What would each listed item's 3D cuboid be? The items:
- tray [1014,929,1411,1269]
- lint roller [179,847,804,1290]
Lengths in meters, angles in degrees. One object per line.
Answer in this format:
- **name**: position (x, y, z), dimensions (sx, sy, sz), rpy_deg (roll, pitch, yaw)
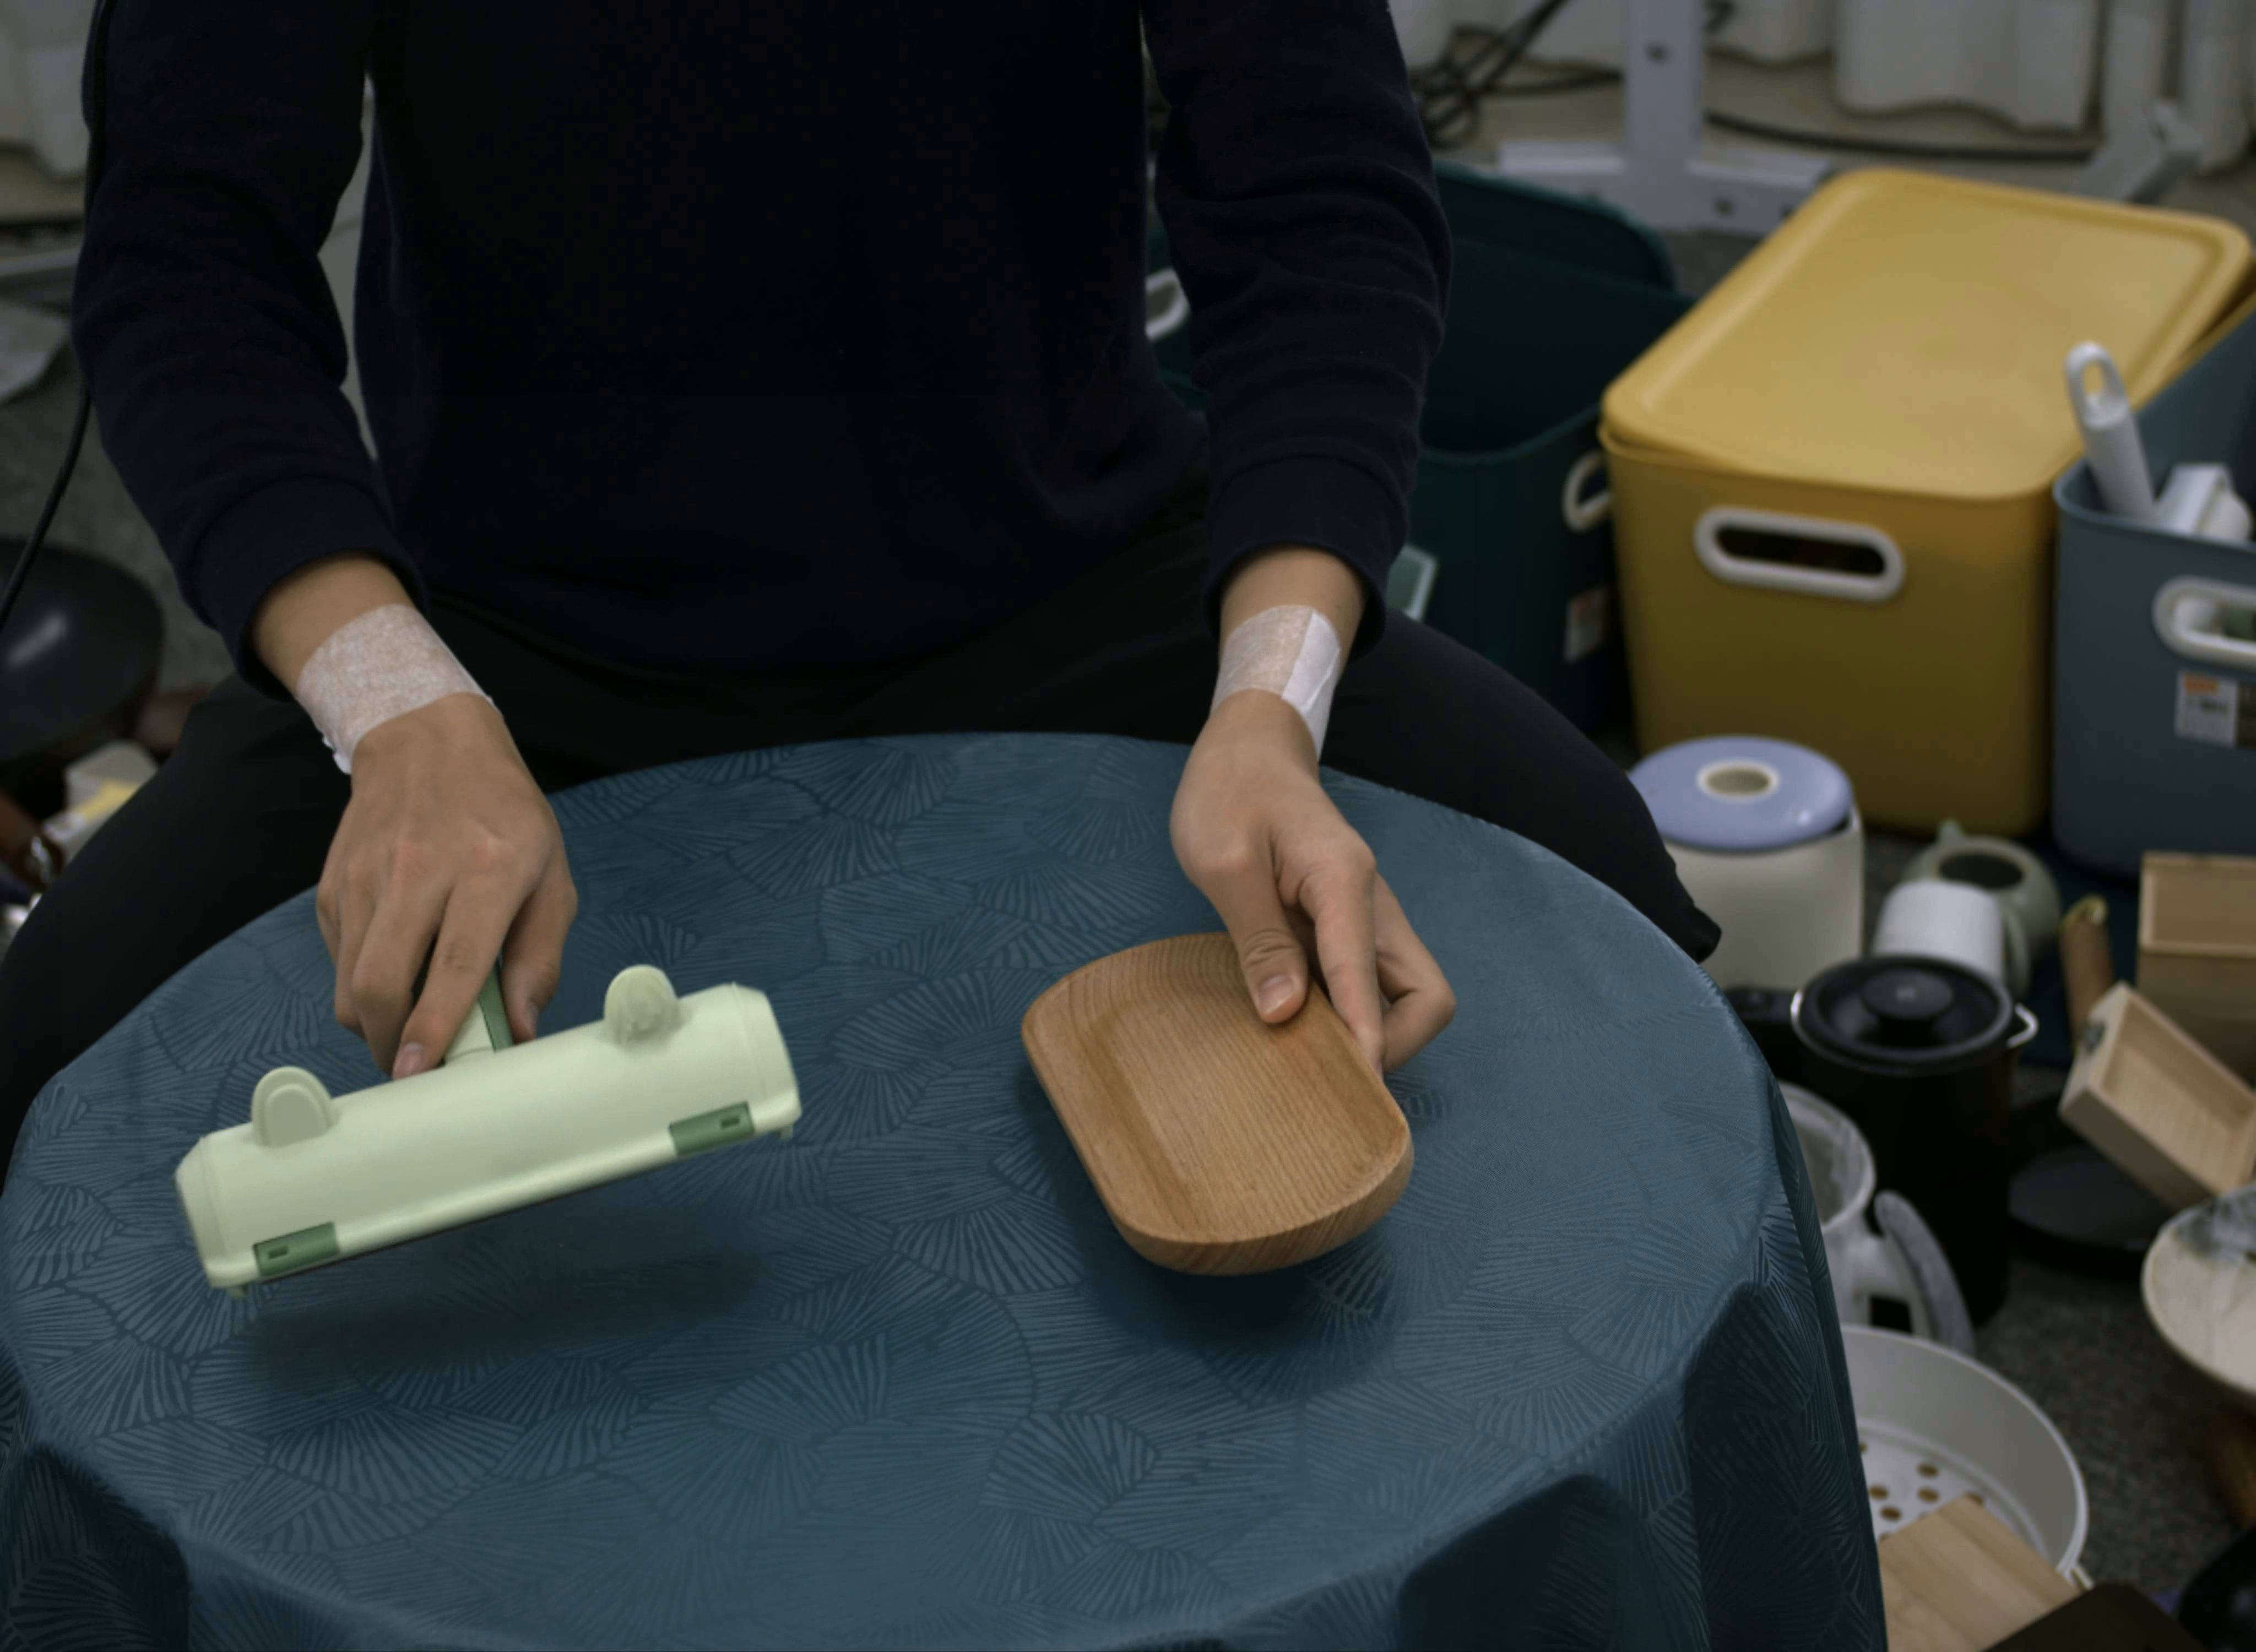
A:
- **tray**: position (0.027, 0.088, 1.862), dimensions (0.101, 0.020, 0.233), rpy_deg (-16, 22, -8)
- **lint roller**: position (-0.221, 0.054, 1.828), dimensions (0.198, 0.081, 0.186), rpy_deg (-16, 48, -10)
